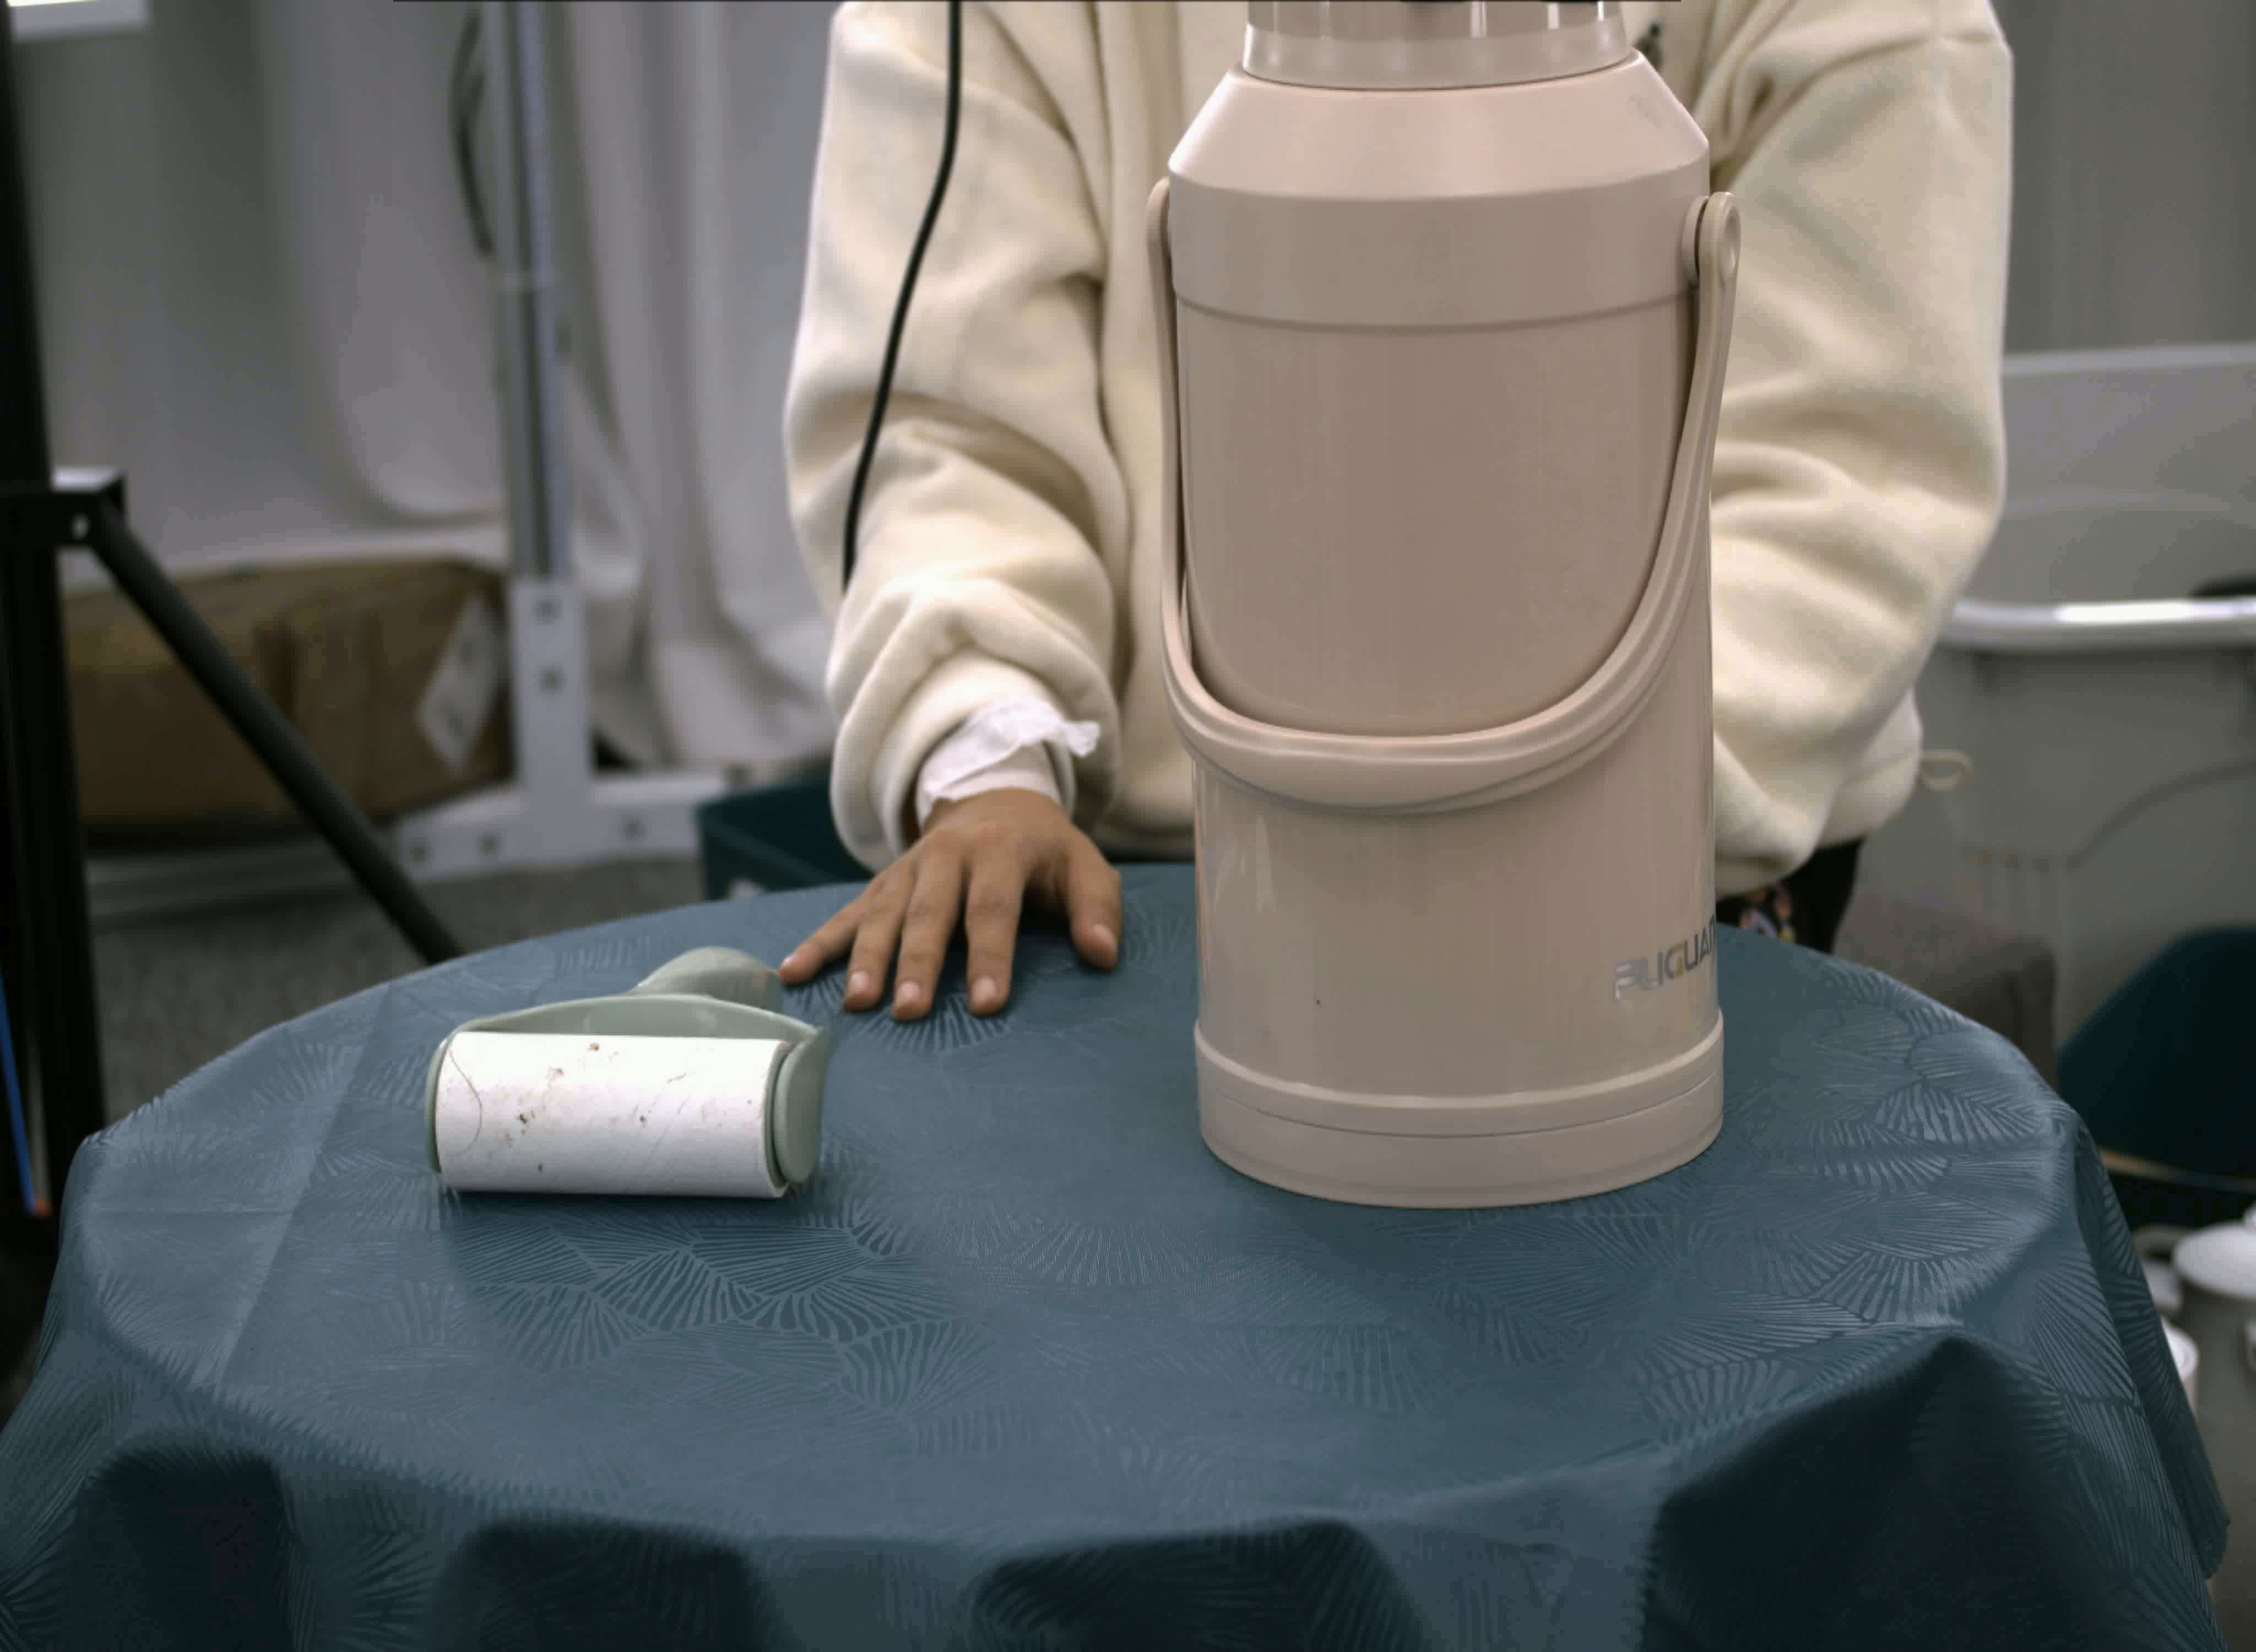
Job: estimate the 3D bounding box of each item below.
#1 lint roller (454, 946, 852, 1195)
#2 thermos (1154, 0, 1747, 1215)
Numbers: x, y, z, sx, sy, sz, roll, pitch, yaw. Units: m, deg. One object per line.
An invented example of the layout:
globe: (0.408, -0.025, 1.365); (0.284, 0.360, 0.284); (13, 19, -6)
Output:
lint roller: (-0.129, 0.065, 1.643); (0.117, 0.048, 0.196); (-2, 16, 12)
thermos: (0.100, -0.104, 1.564); (0.178, 0.406, 0.204); (4, 16, 23)
